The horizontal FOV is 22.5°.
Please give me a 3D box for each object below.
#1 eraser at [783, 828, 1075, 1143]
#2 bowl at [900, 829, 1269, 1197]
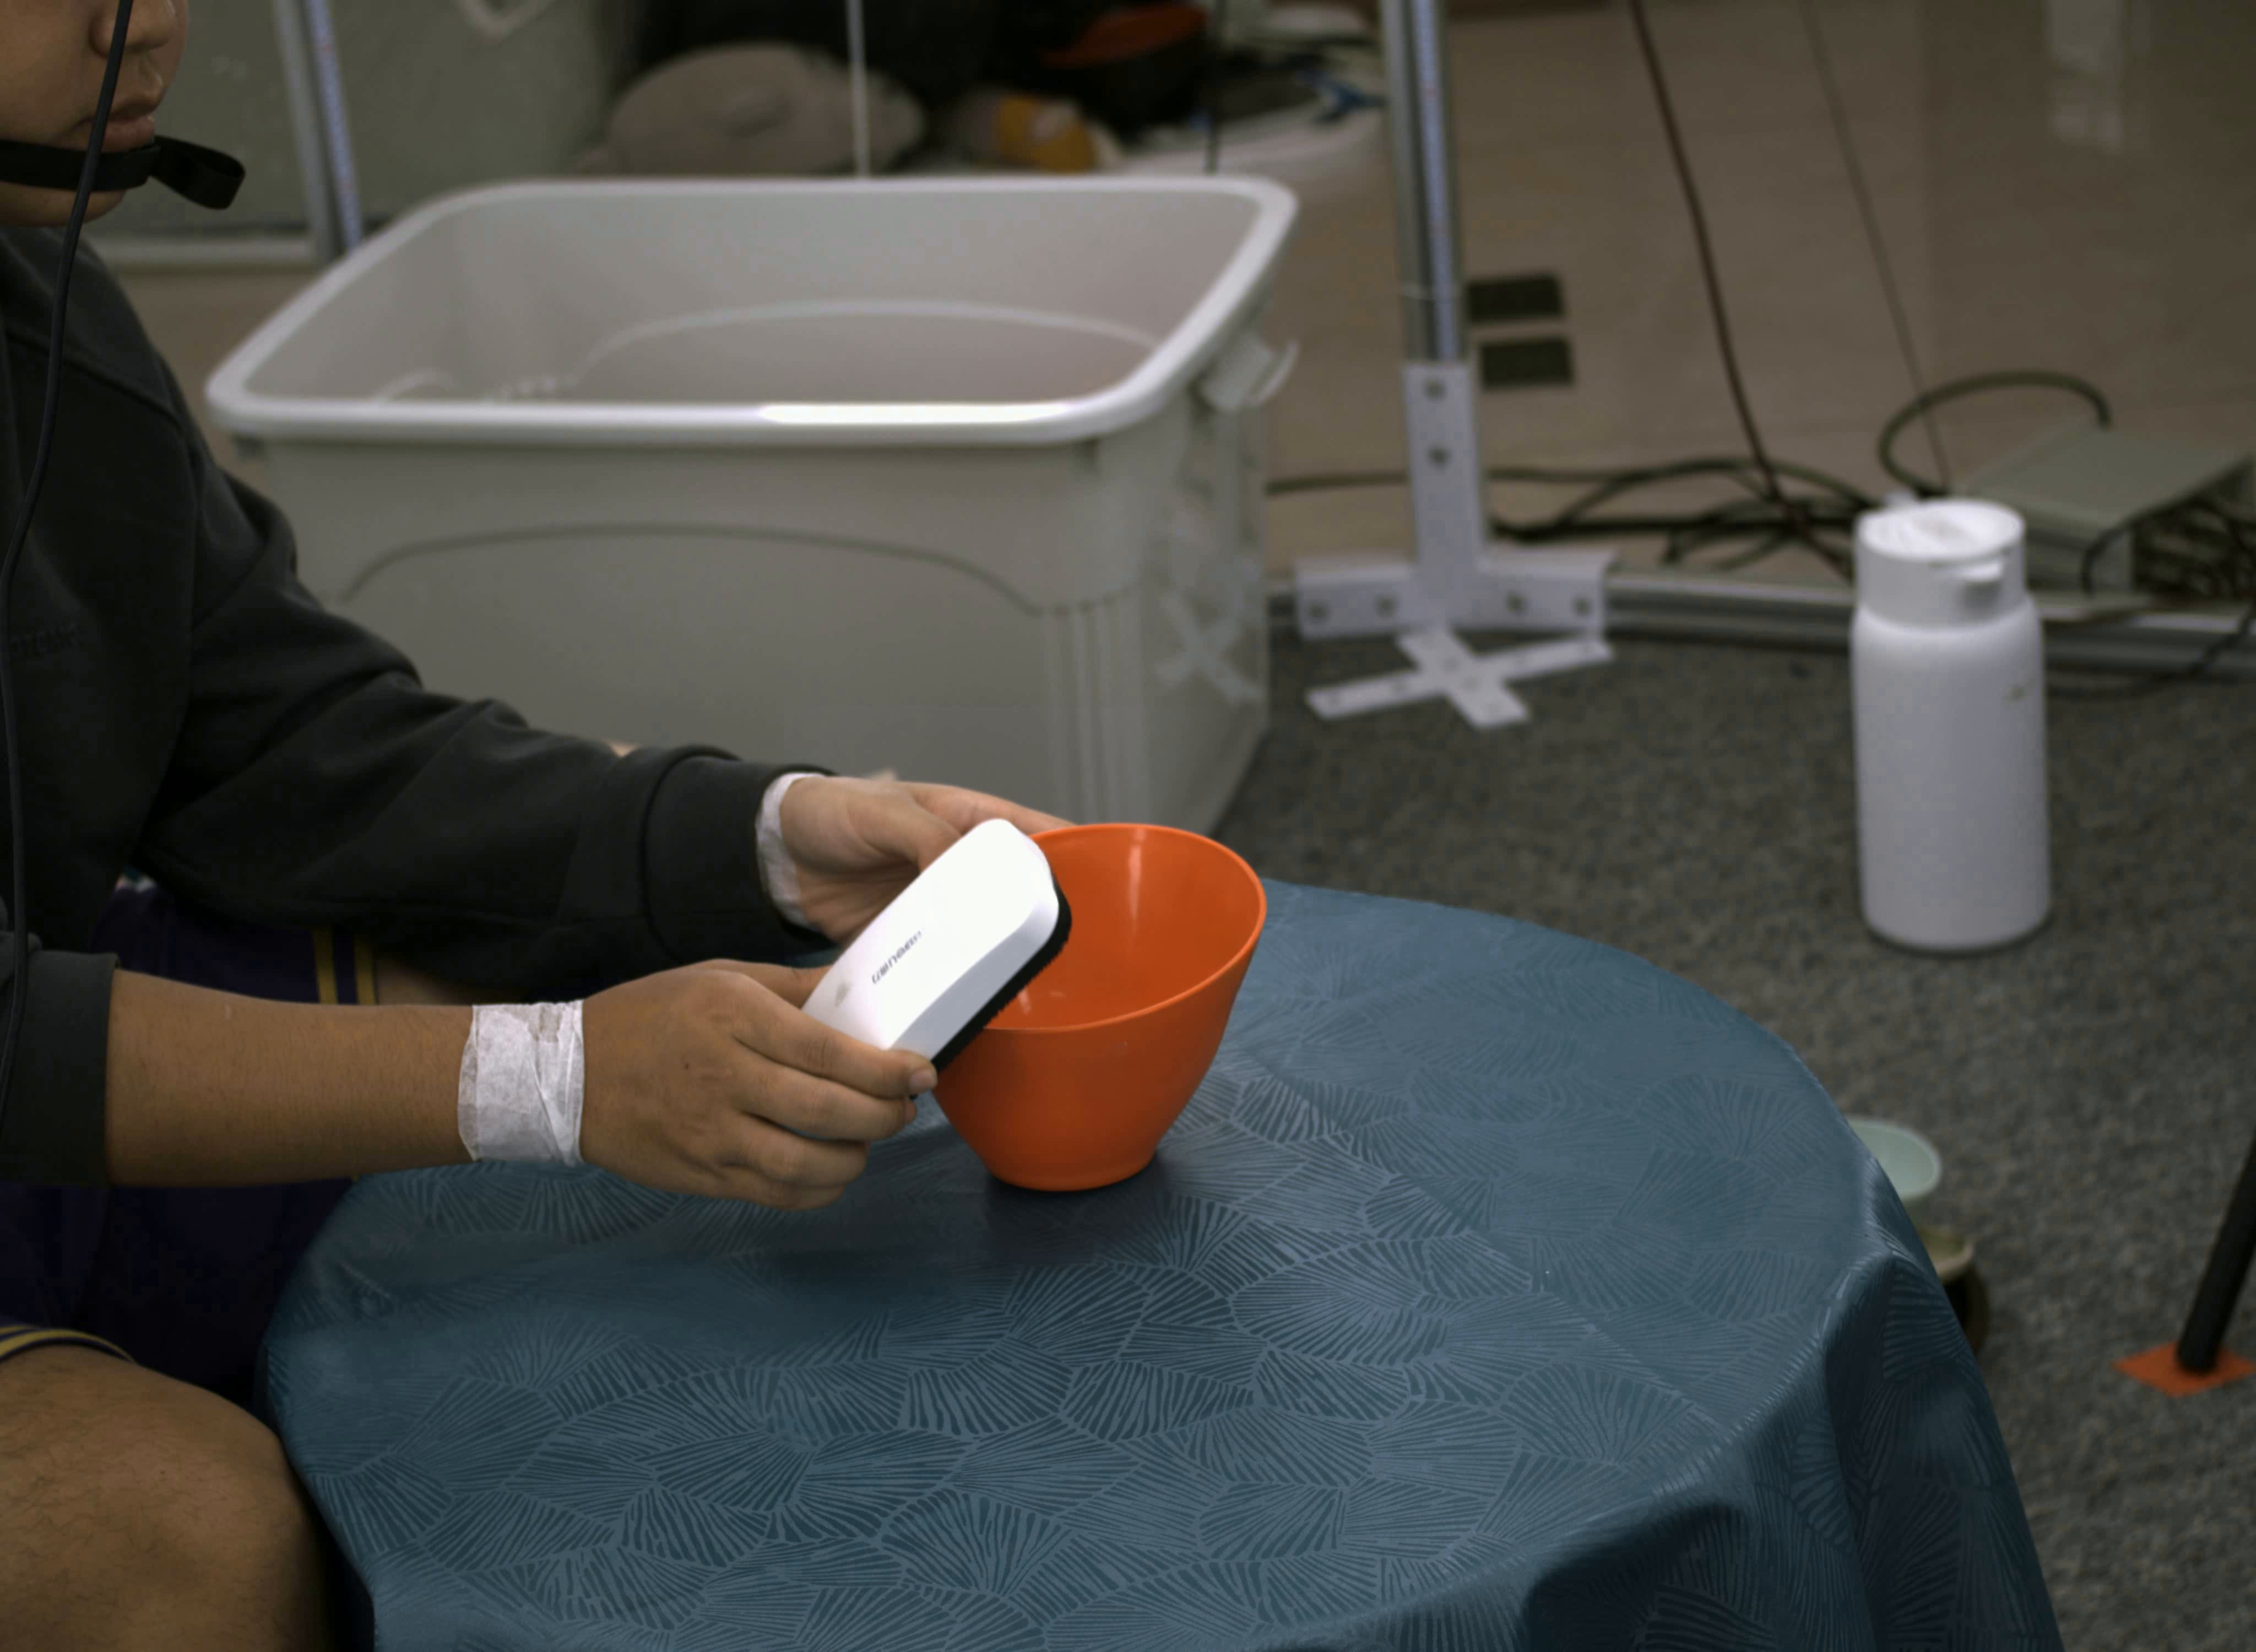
[{"bbox_3d":[-0.076,0.058,2.085,0.132,0.035,0.062,-42,38,21],"label":"eraser"},{"bbox_3d":[-0.018,0.077,2.162,0.148,0.106,0.146,-3,23,1],"label":"bowl"}]
